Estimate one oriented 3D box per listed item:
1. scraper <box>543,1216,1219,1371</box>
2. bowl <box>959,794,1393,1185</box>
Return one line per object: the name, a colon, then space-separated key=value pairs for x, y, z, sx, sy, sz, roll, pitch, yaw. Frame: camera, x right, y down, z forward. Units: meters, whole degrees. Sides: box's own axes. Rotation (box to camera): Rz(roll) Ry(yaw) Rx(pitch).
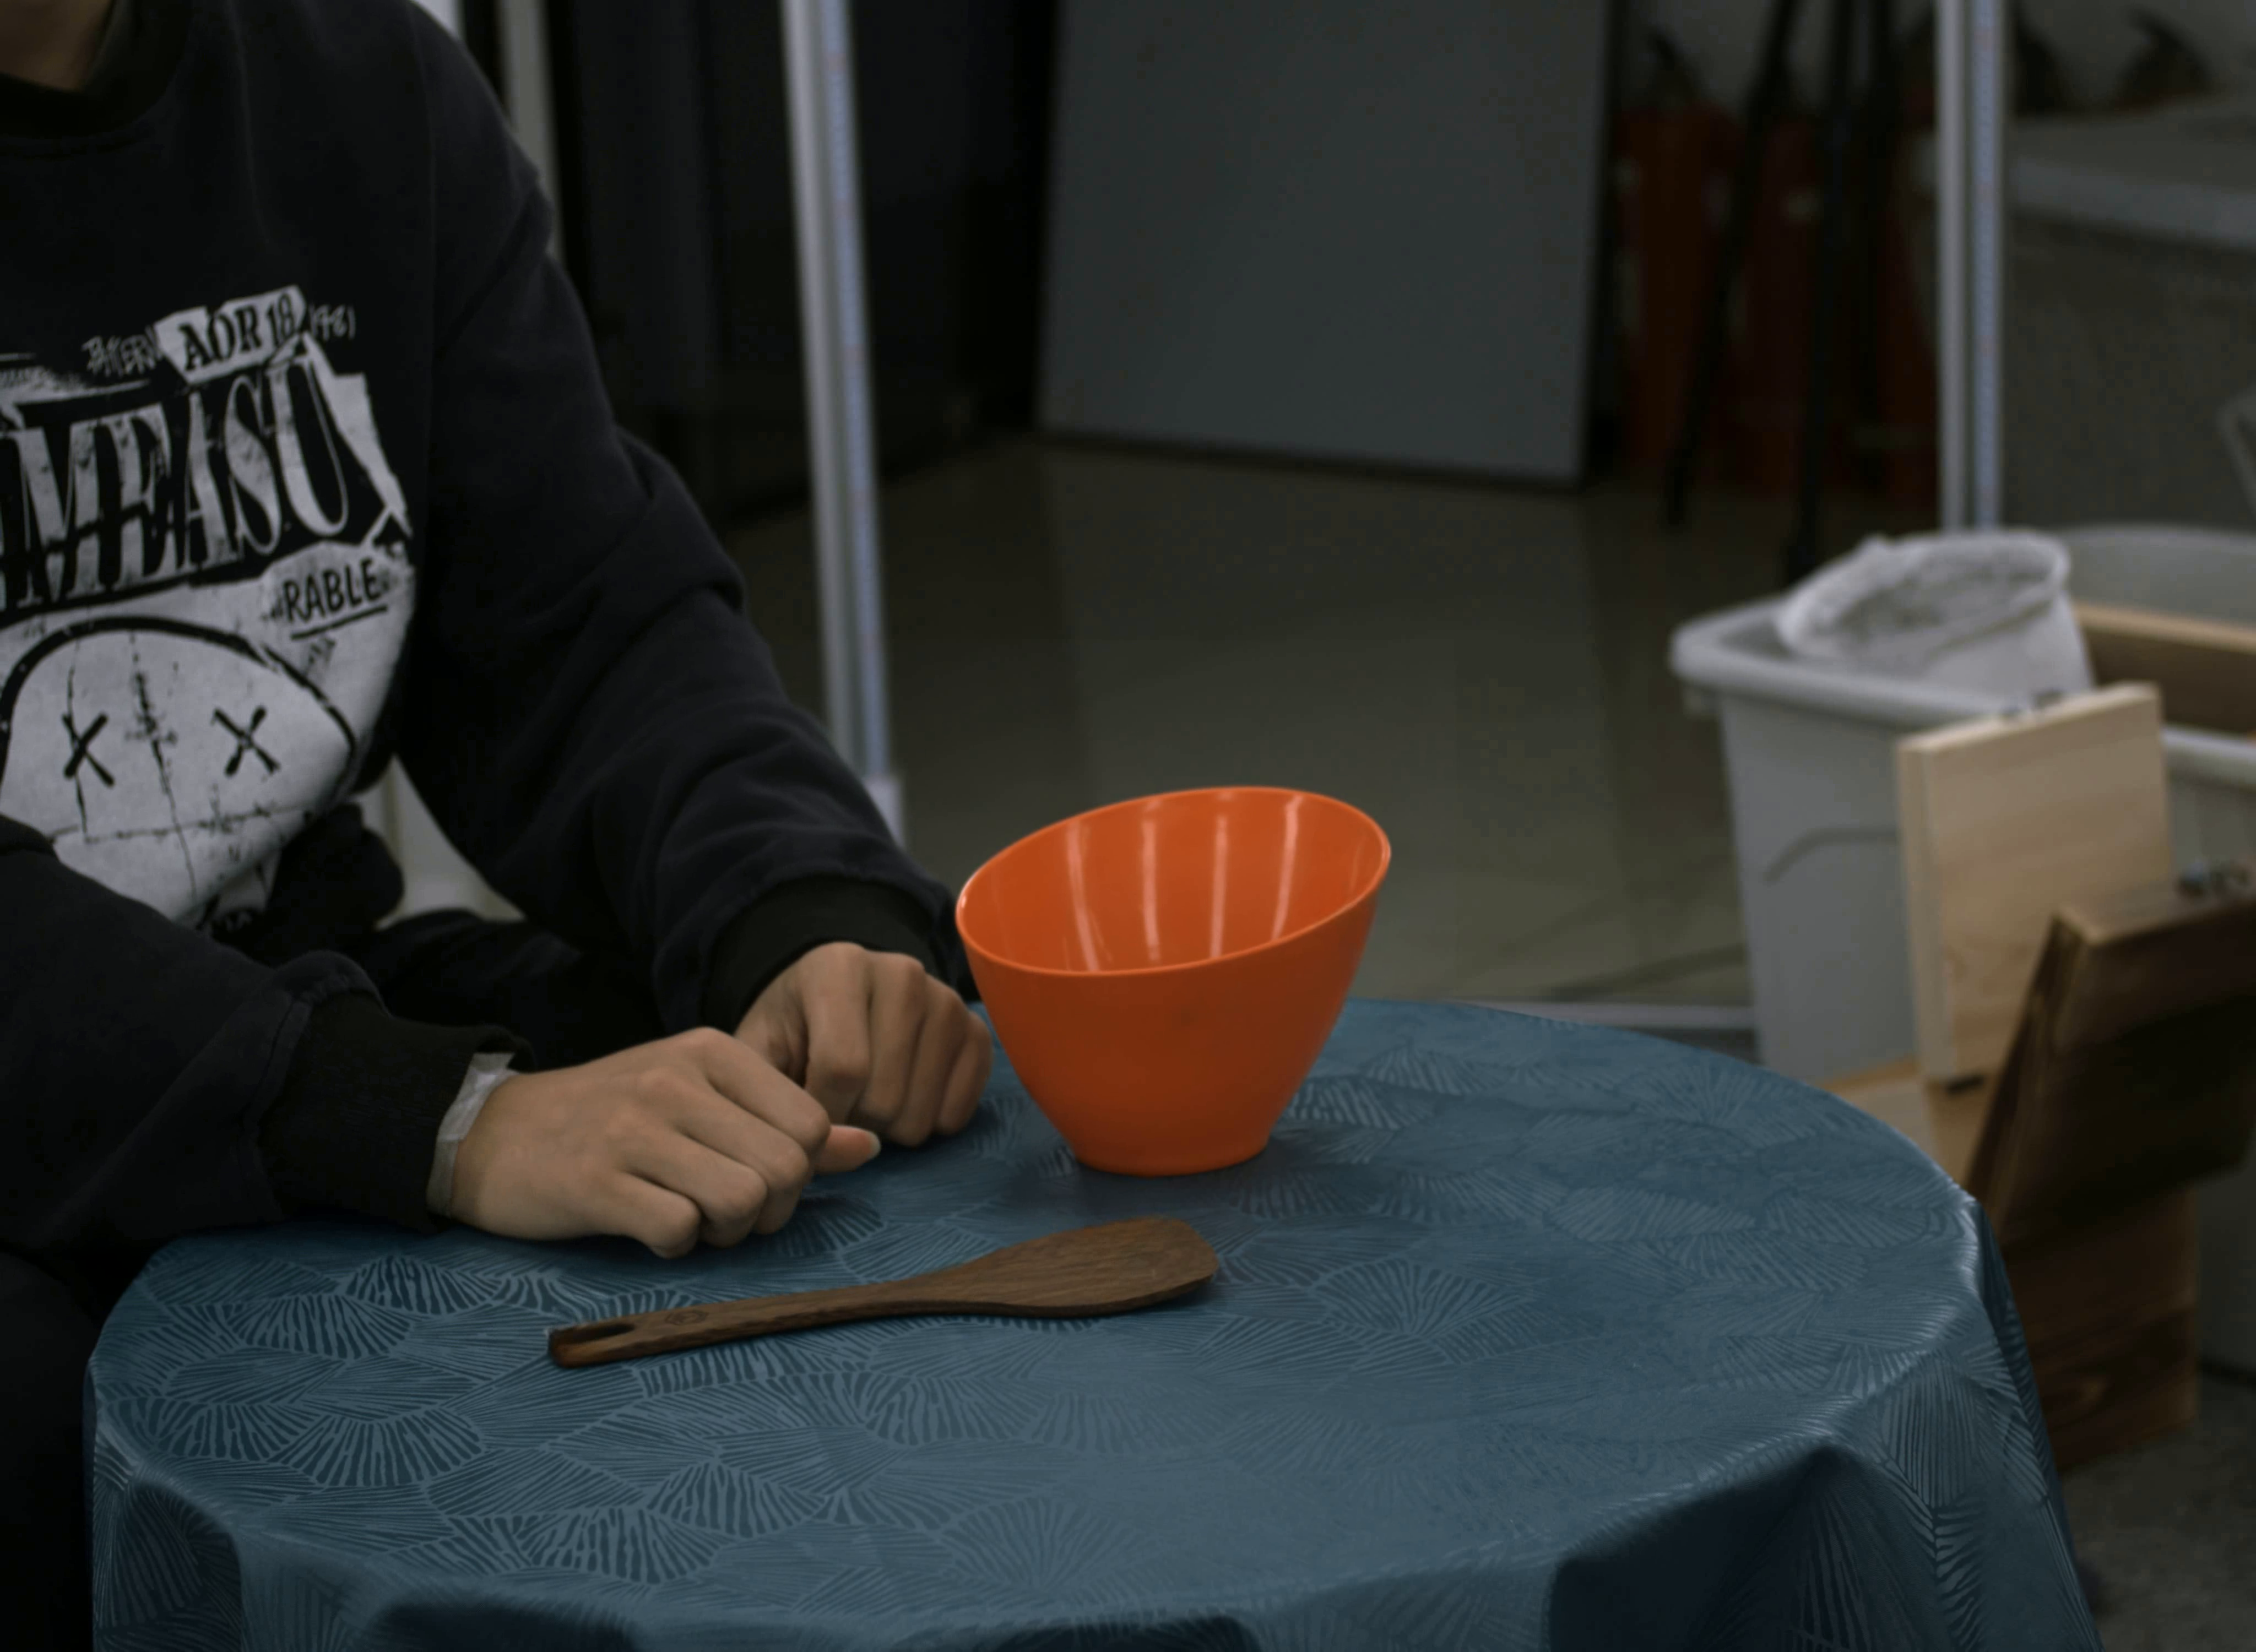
scraper: x=-0.076 y=0.148 z=1.669 sx=0.207 sy=0.011 sz=0.076 roll=-8 pitch=13 yaw=-12
bowl: x=0.018 y=0.058 z=1.810 sx=0.146 sy=0.106 sz=0.148 roll=-4 pitch=14 yaw=0
